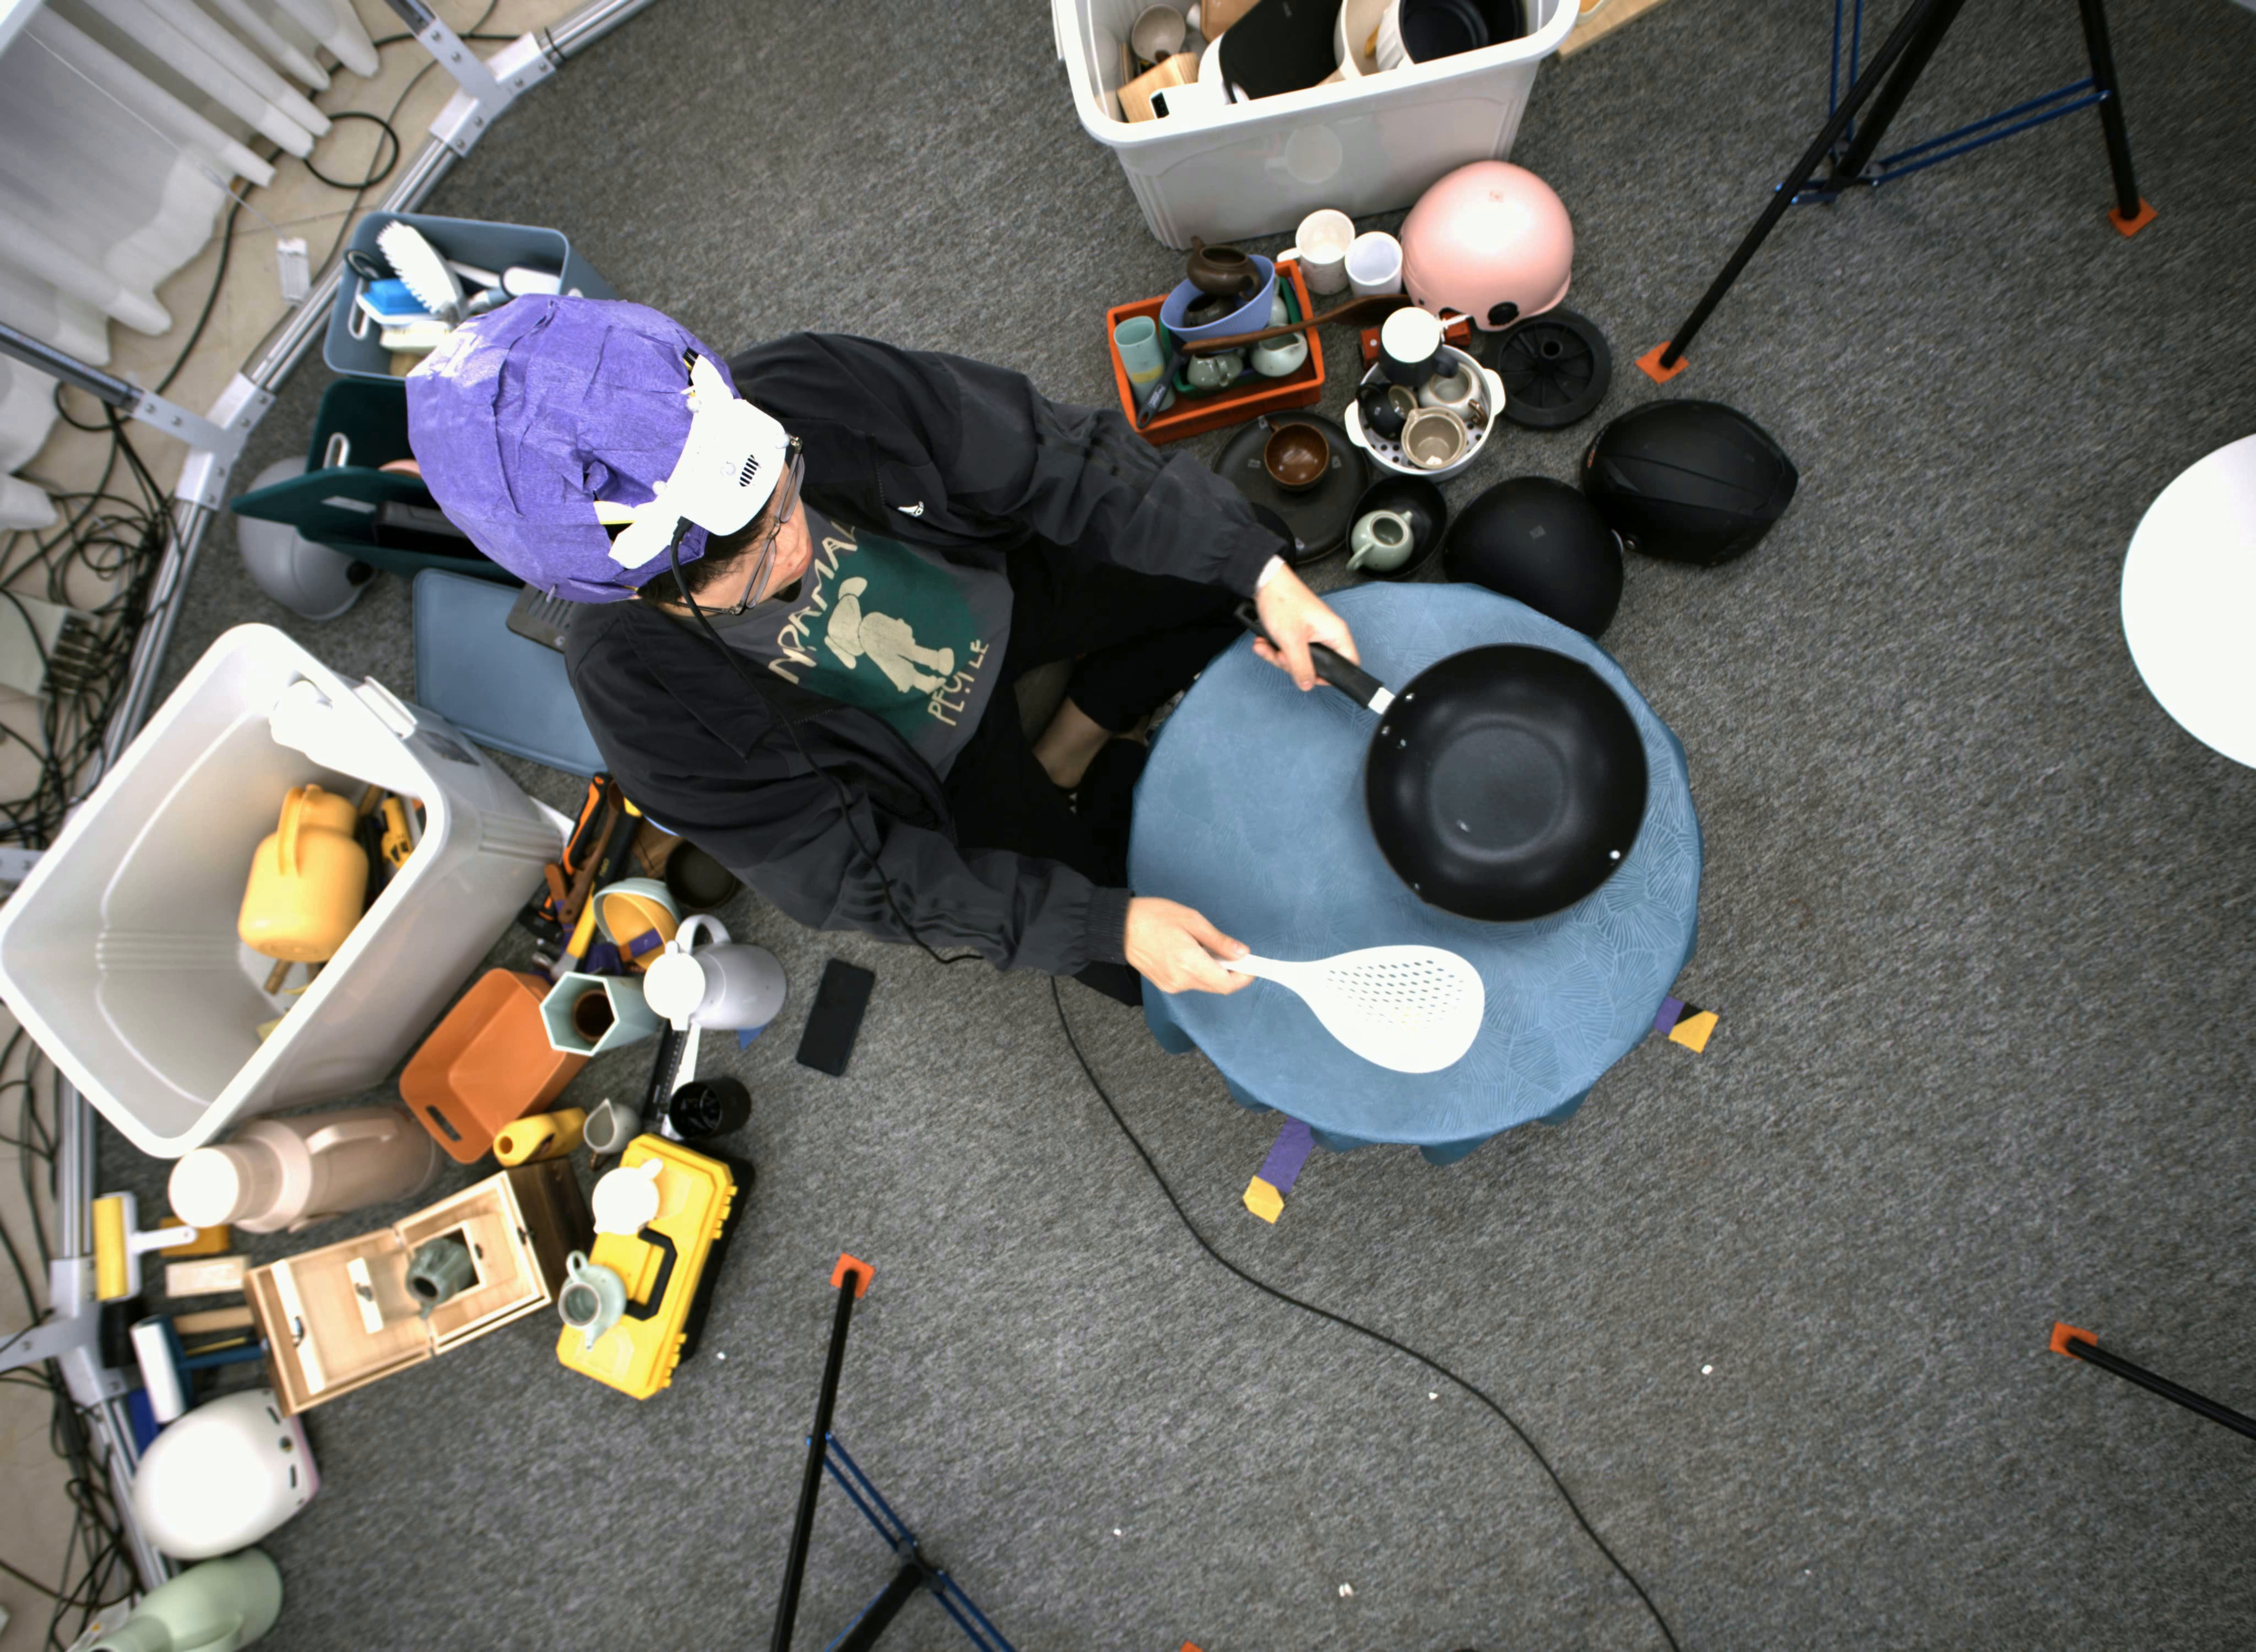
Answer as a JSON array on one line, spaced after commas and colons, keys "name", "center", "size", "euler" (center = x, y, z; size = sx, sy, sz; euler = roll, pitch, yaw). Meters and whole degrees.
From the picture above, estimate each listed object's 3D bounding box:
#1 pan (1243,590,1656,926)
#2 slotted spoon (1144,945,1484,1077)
[{"name": "pan", "center": [0.310, -0.094, 1.408], "size": [0.462, 0.086, 0.289], "euler": [35, 95, 8]}, {"name": "slotted spoon", "center": [0.174, 0.158, 1.362], "size": [0.348, 0.051, 0.134], "euler": [14, 64, 21]}]
